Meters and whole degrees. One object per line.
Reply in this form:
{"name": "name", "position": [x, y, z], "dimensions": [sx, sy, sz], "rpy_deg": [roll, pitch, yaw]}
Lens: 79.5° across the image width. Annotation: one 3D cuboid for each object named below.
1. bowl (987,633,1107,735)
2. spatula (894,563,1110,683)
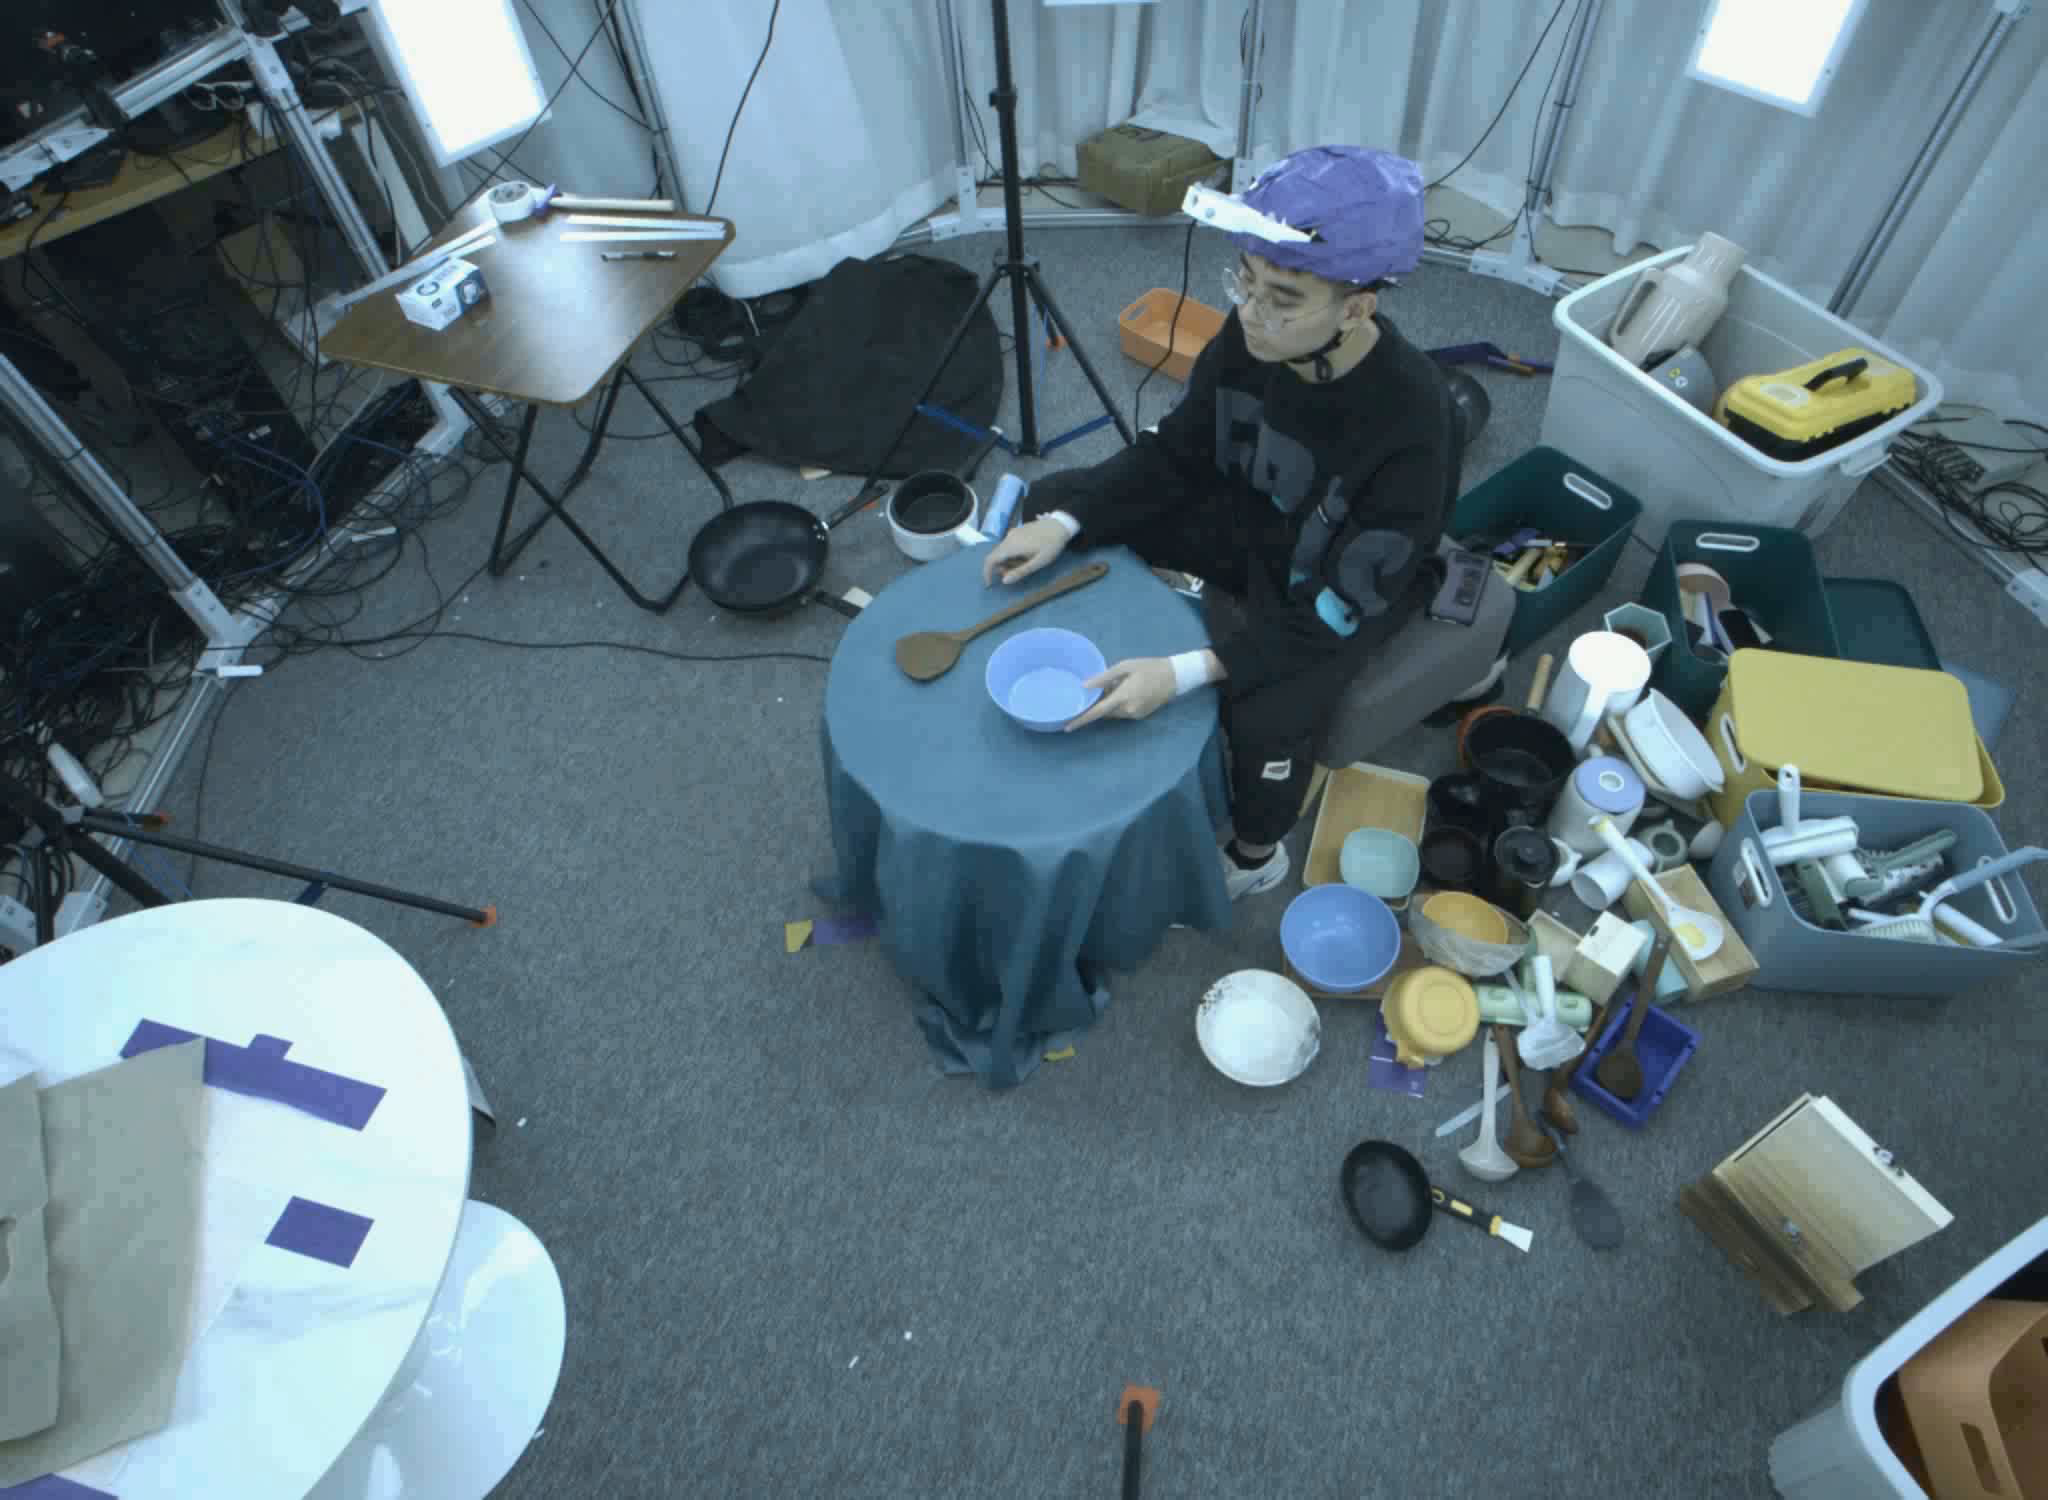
{"name": "bowl", "position": [0.034, -0.088, 1.816], "dimensions": [0.176, 0.071, 0.174], "rpy_deg": [0, 54, 1]}
{"name": "spatula", "position": [-0.026, -0.212, 1.939], "dimensions": [0.389, 0.016, 0.094], "rpy_deg": [-29, 59, -18]}
